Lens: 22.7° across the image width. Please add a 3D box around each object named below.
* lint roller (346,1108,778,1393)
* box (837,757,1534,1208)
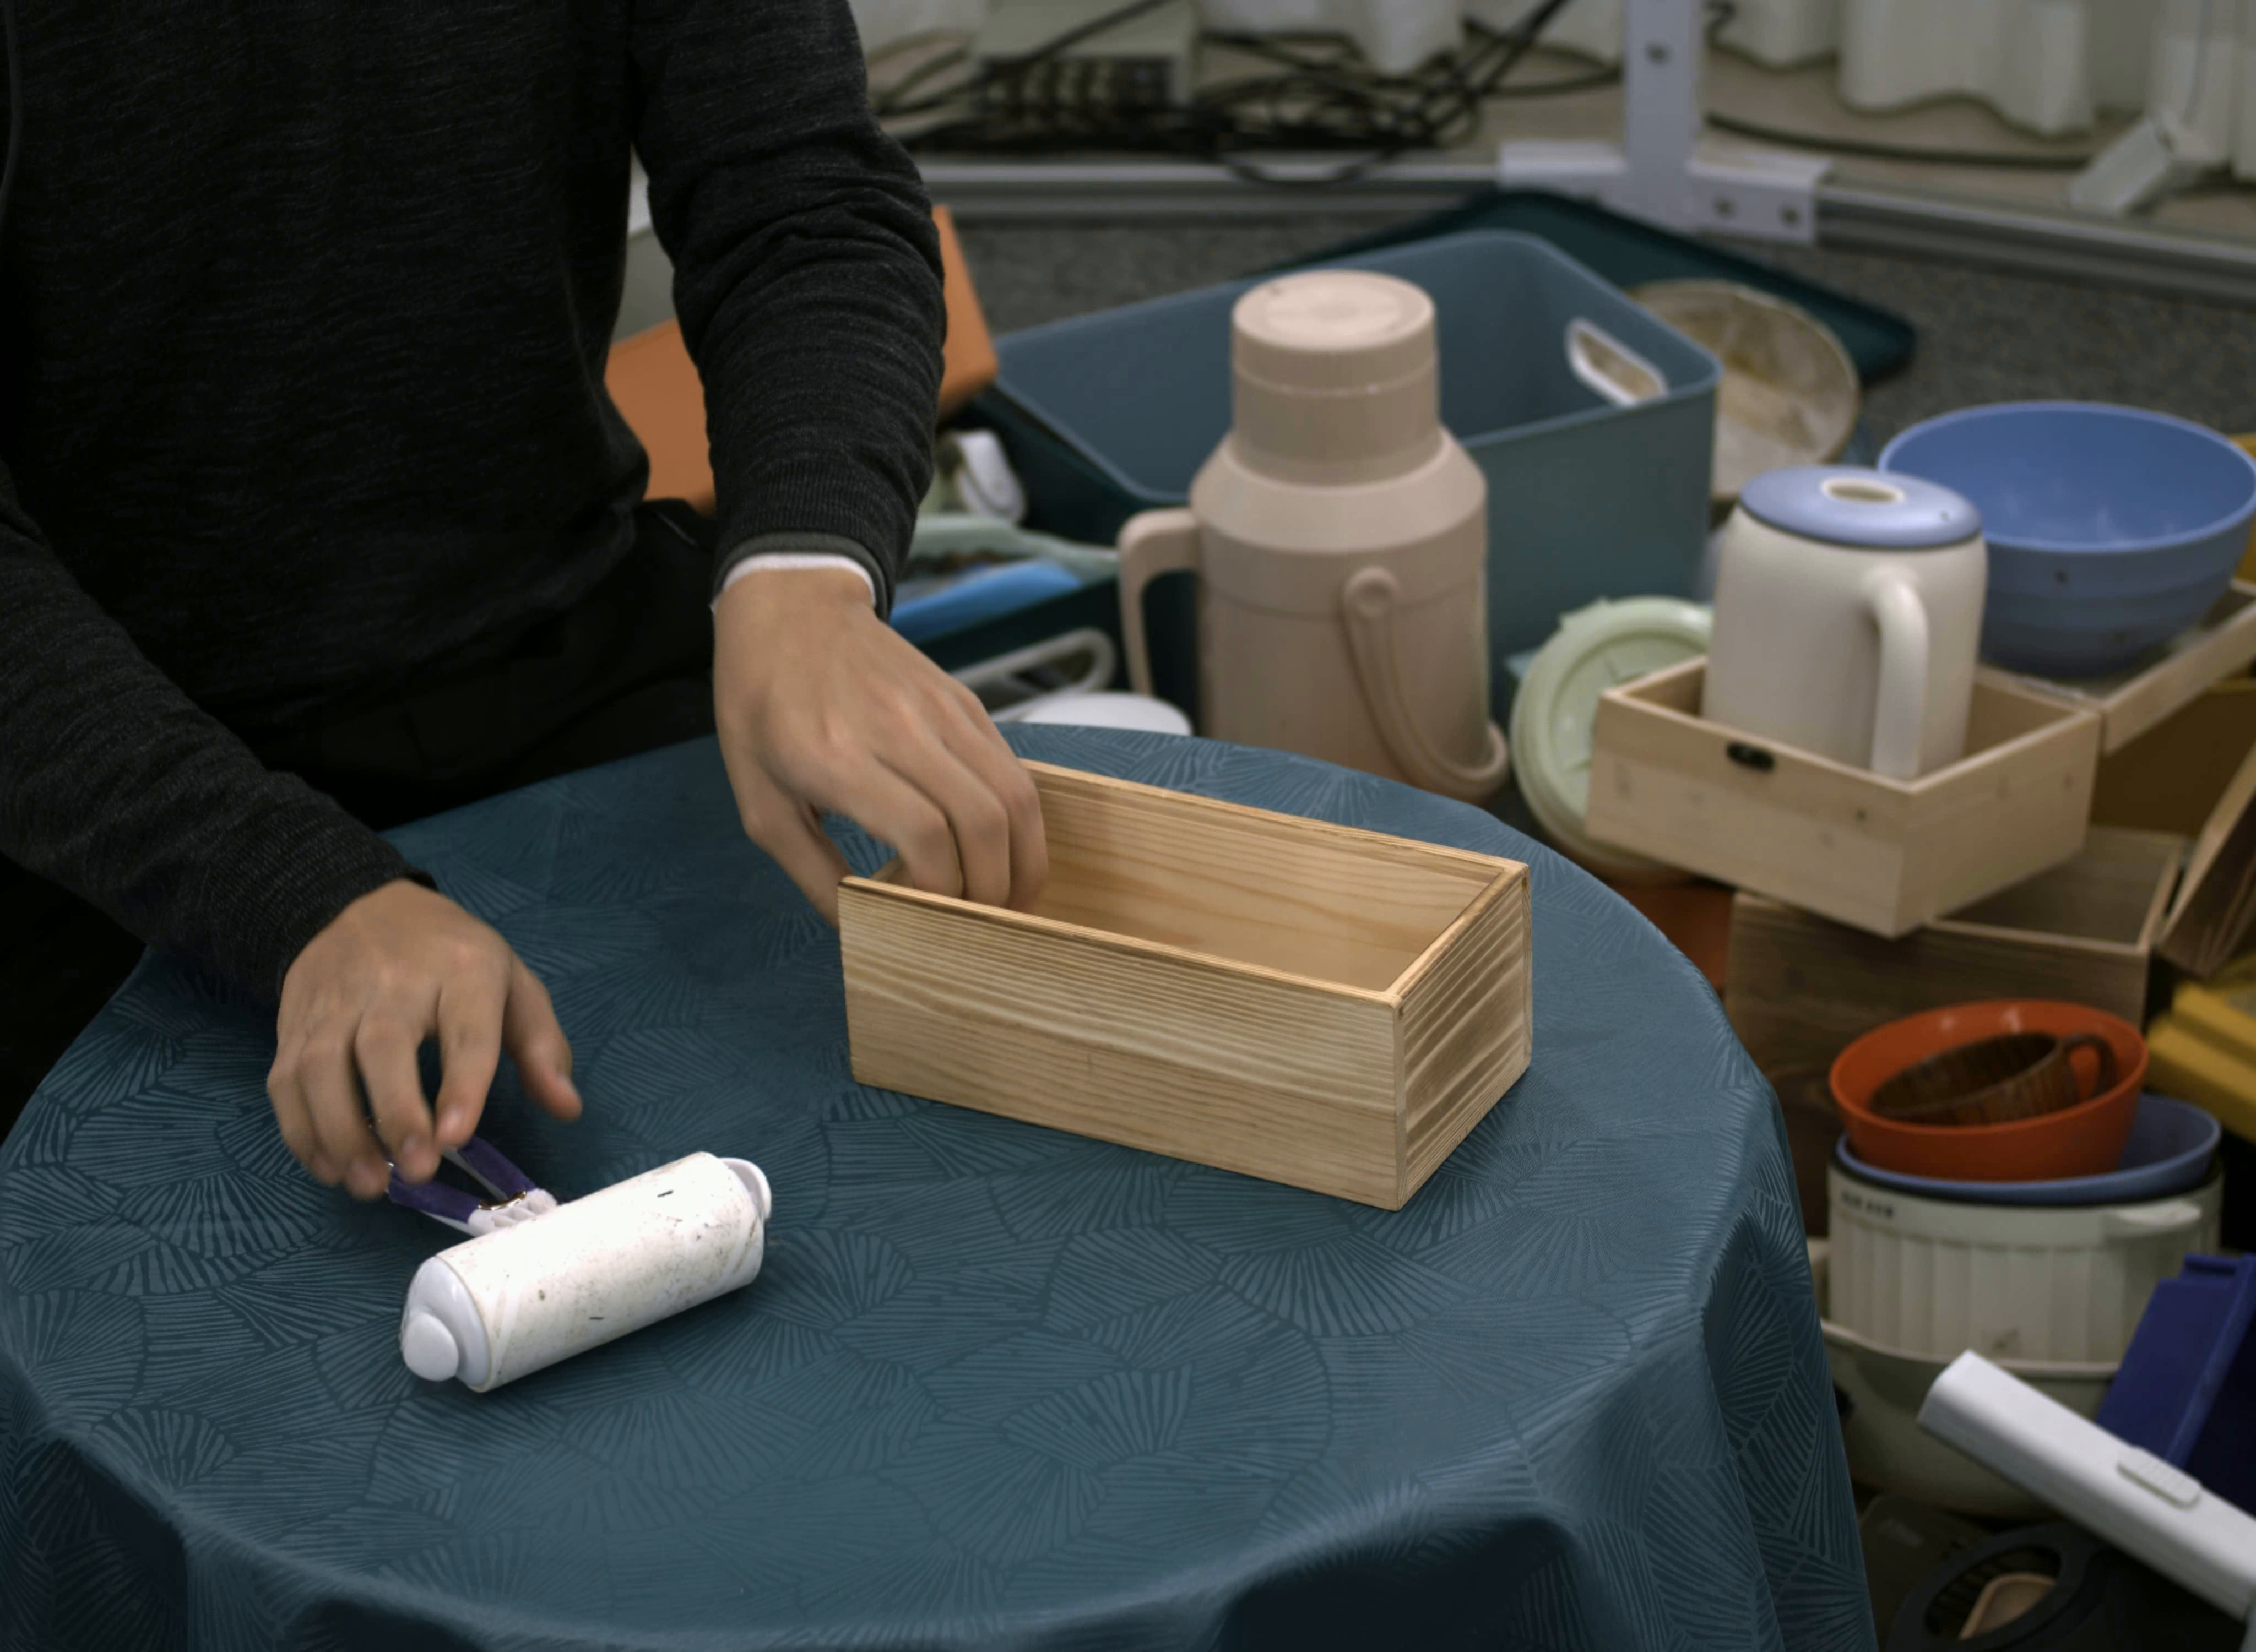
[{"bbox_3d":[-0.207,0.118,1.838,0.134,0.049,0.181,-20,33,-28],"label":"lint roller"},{"bbox_3d":[0.020,0.051,1.910,0.210,0.079,0.109,11,30,26],"label":"box"}]
